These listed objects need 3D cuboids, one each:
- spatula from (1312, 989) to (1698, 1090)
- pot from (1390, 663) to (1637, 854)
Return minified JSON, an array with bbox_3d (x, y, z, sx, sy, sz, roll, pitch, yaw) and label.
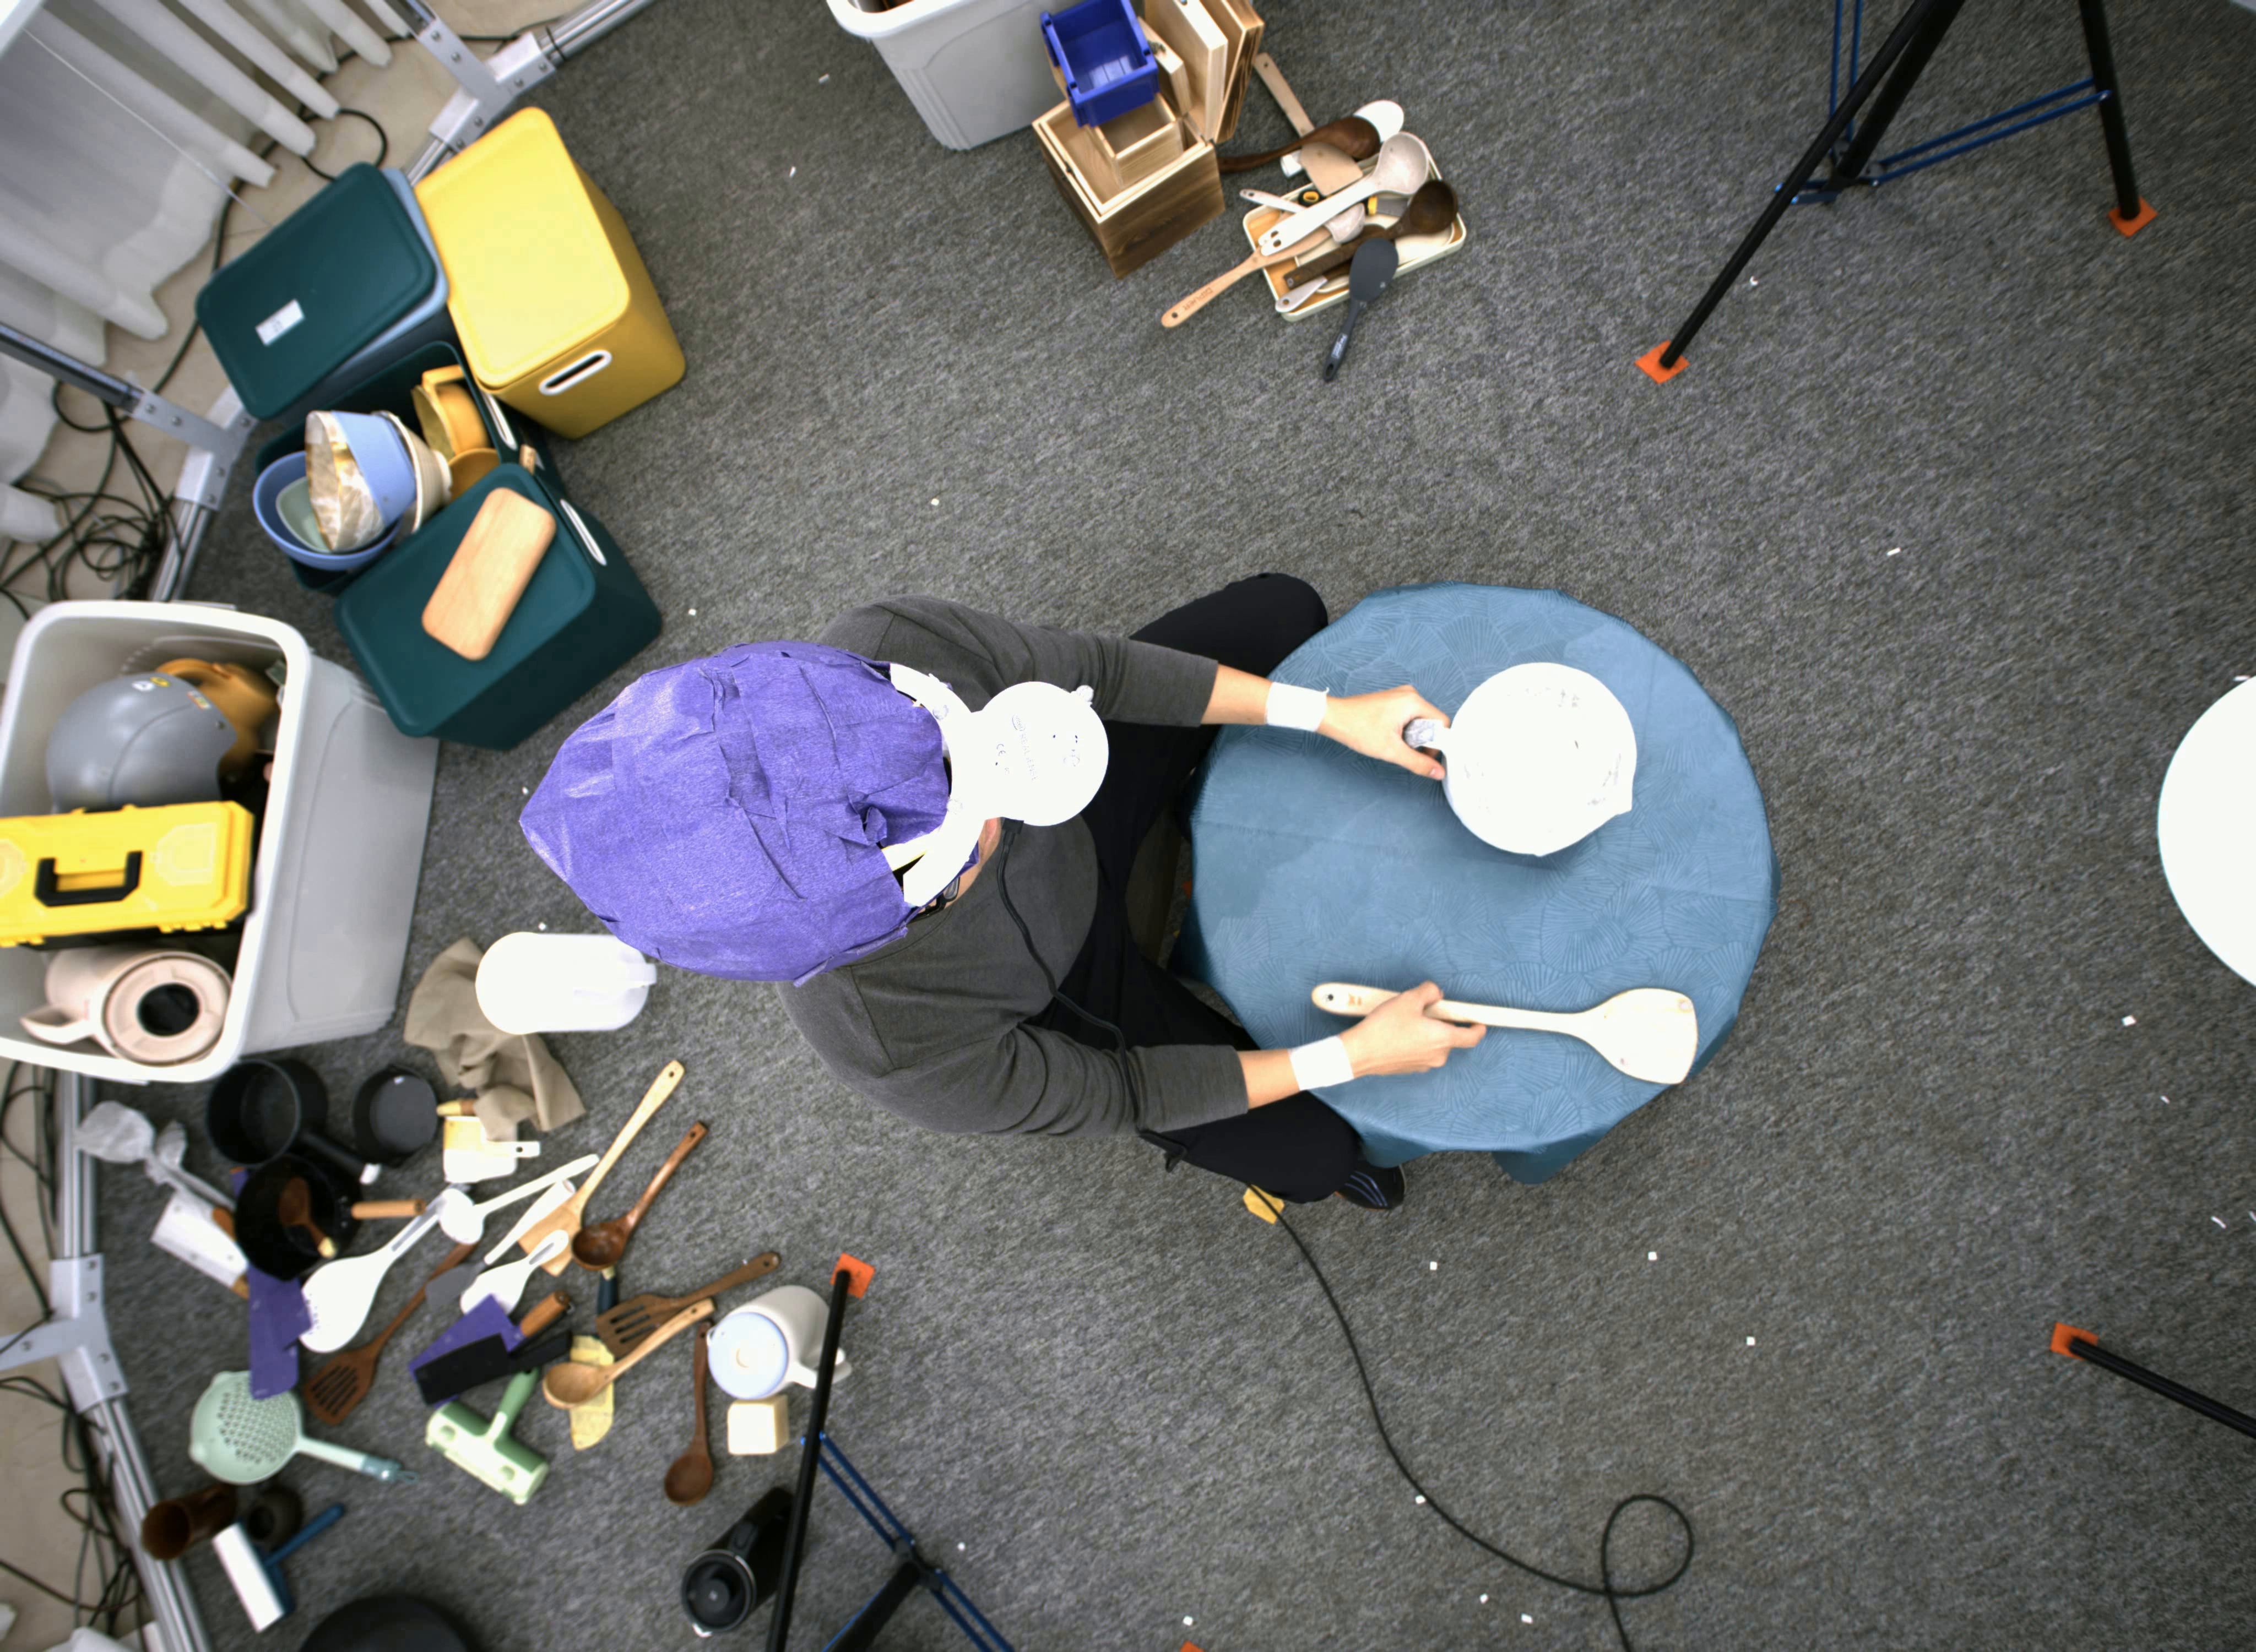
[{"bbox_3d":[0.383,0.201,1.411,0.391,0.018,0.095,5,87,5],"label":"spatula"},{"bbox_3d":[0.380,-0.071,1.378,0.234,0.137,0.178,12,88,11],"label":"pot"}]
